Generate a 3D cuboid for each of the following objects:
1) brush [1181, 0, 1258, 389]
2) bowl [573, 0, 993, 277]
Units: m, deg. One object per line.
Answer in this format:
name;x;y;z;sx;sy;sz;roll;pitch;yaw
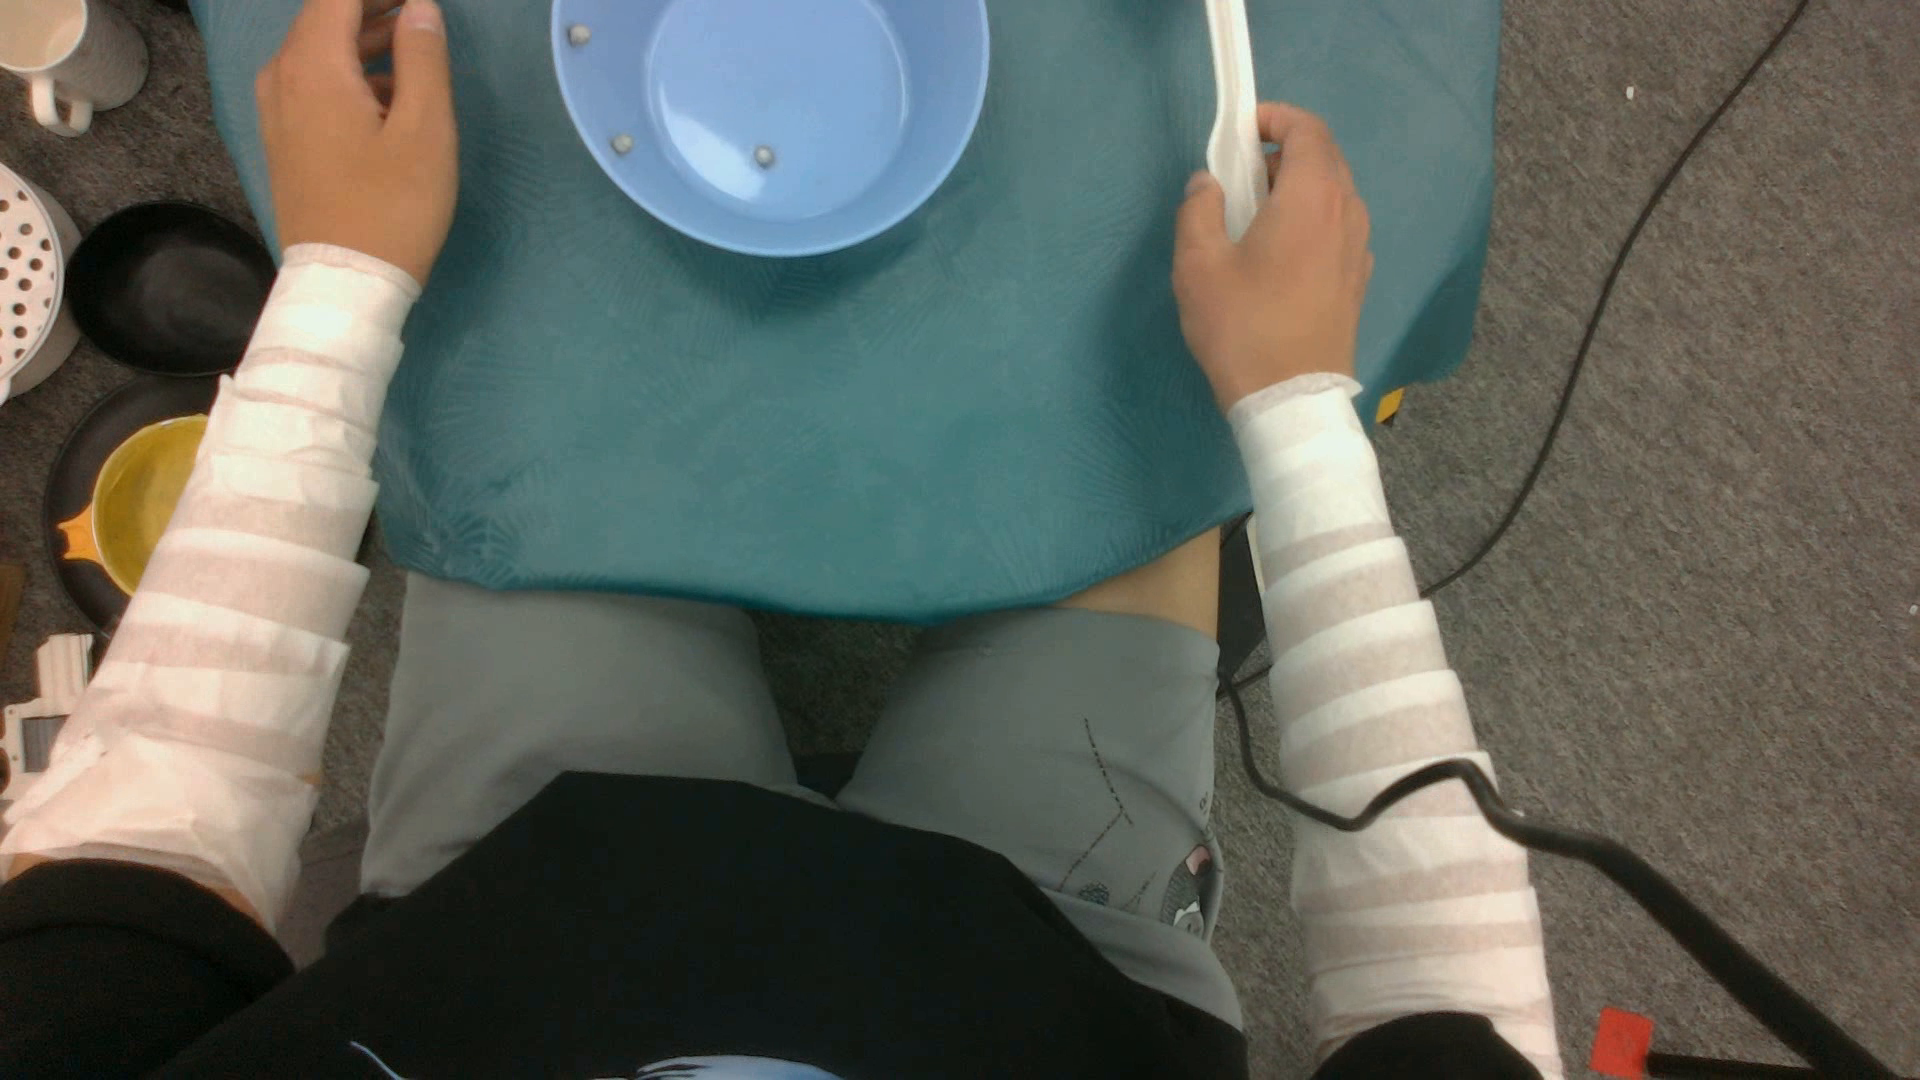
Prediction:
brush;0.109;-0.190;0.614;0.050;0.034;0.243;3;88;-27
bowl;-0.076;-0.198;0.610;0.176;0.070;0.176;0;89;-5
